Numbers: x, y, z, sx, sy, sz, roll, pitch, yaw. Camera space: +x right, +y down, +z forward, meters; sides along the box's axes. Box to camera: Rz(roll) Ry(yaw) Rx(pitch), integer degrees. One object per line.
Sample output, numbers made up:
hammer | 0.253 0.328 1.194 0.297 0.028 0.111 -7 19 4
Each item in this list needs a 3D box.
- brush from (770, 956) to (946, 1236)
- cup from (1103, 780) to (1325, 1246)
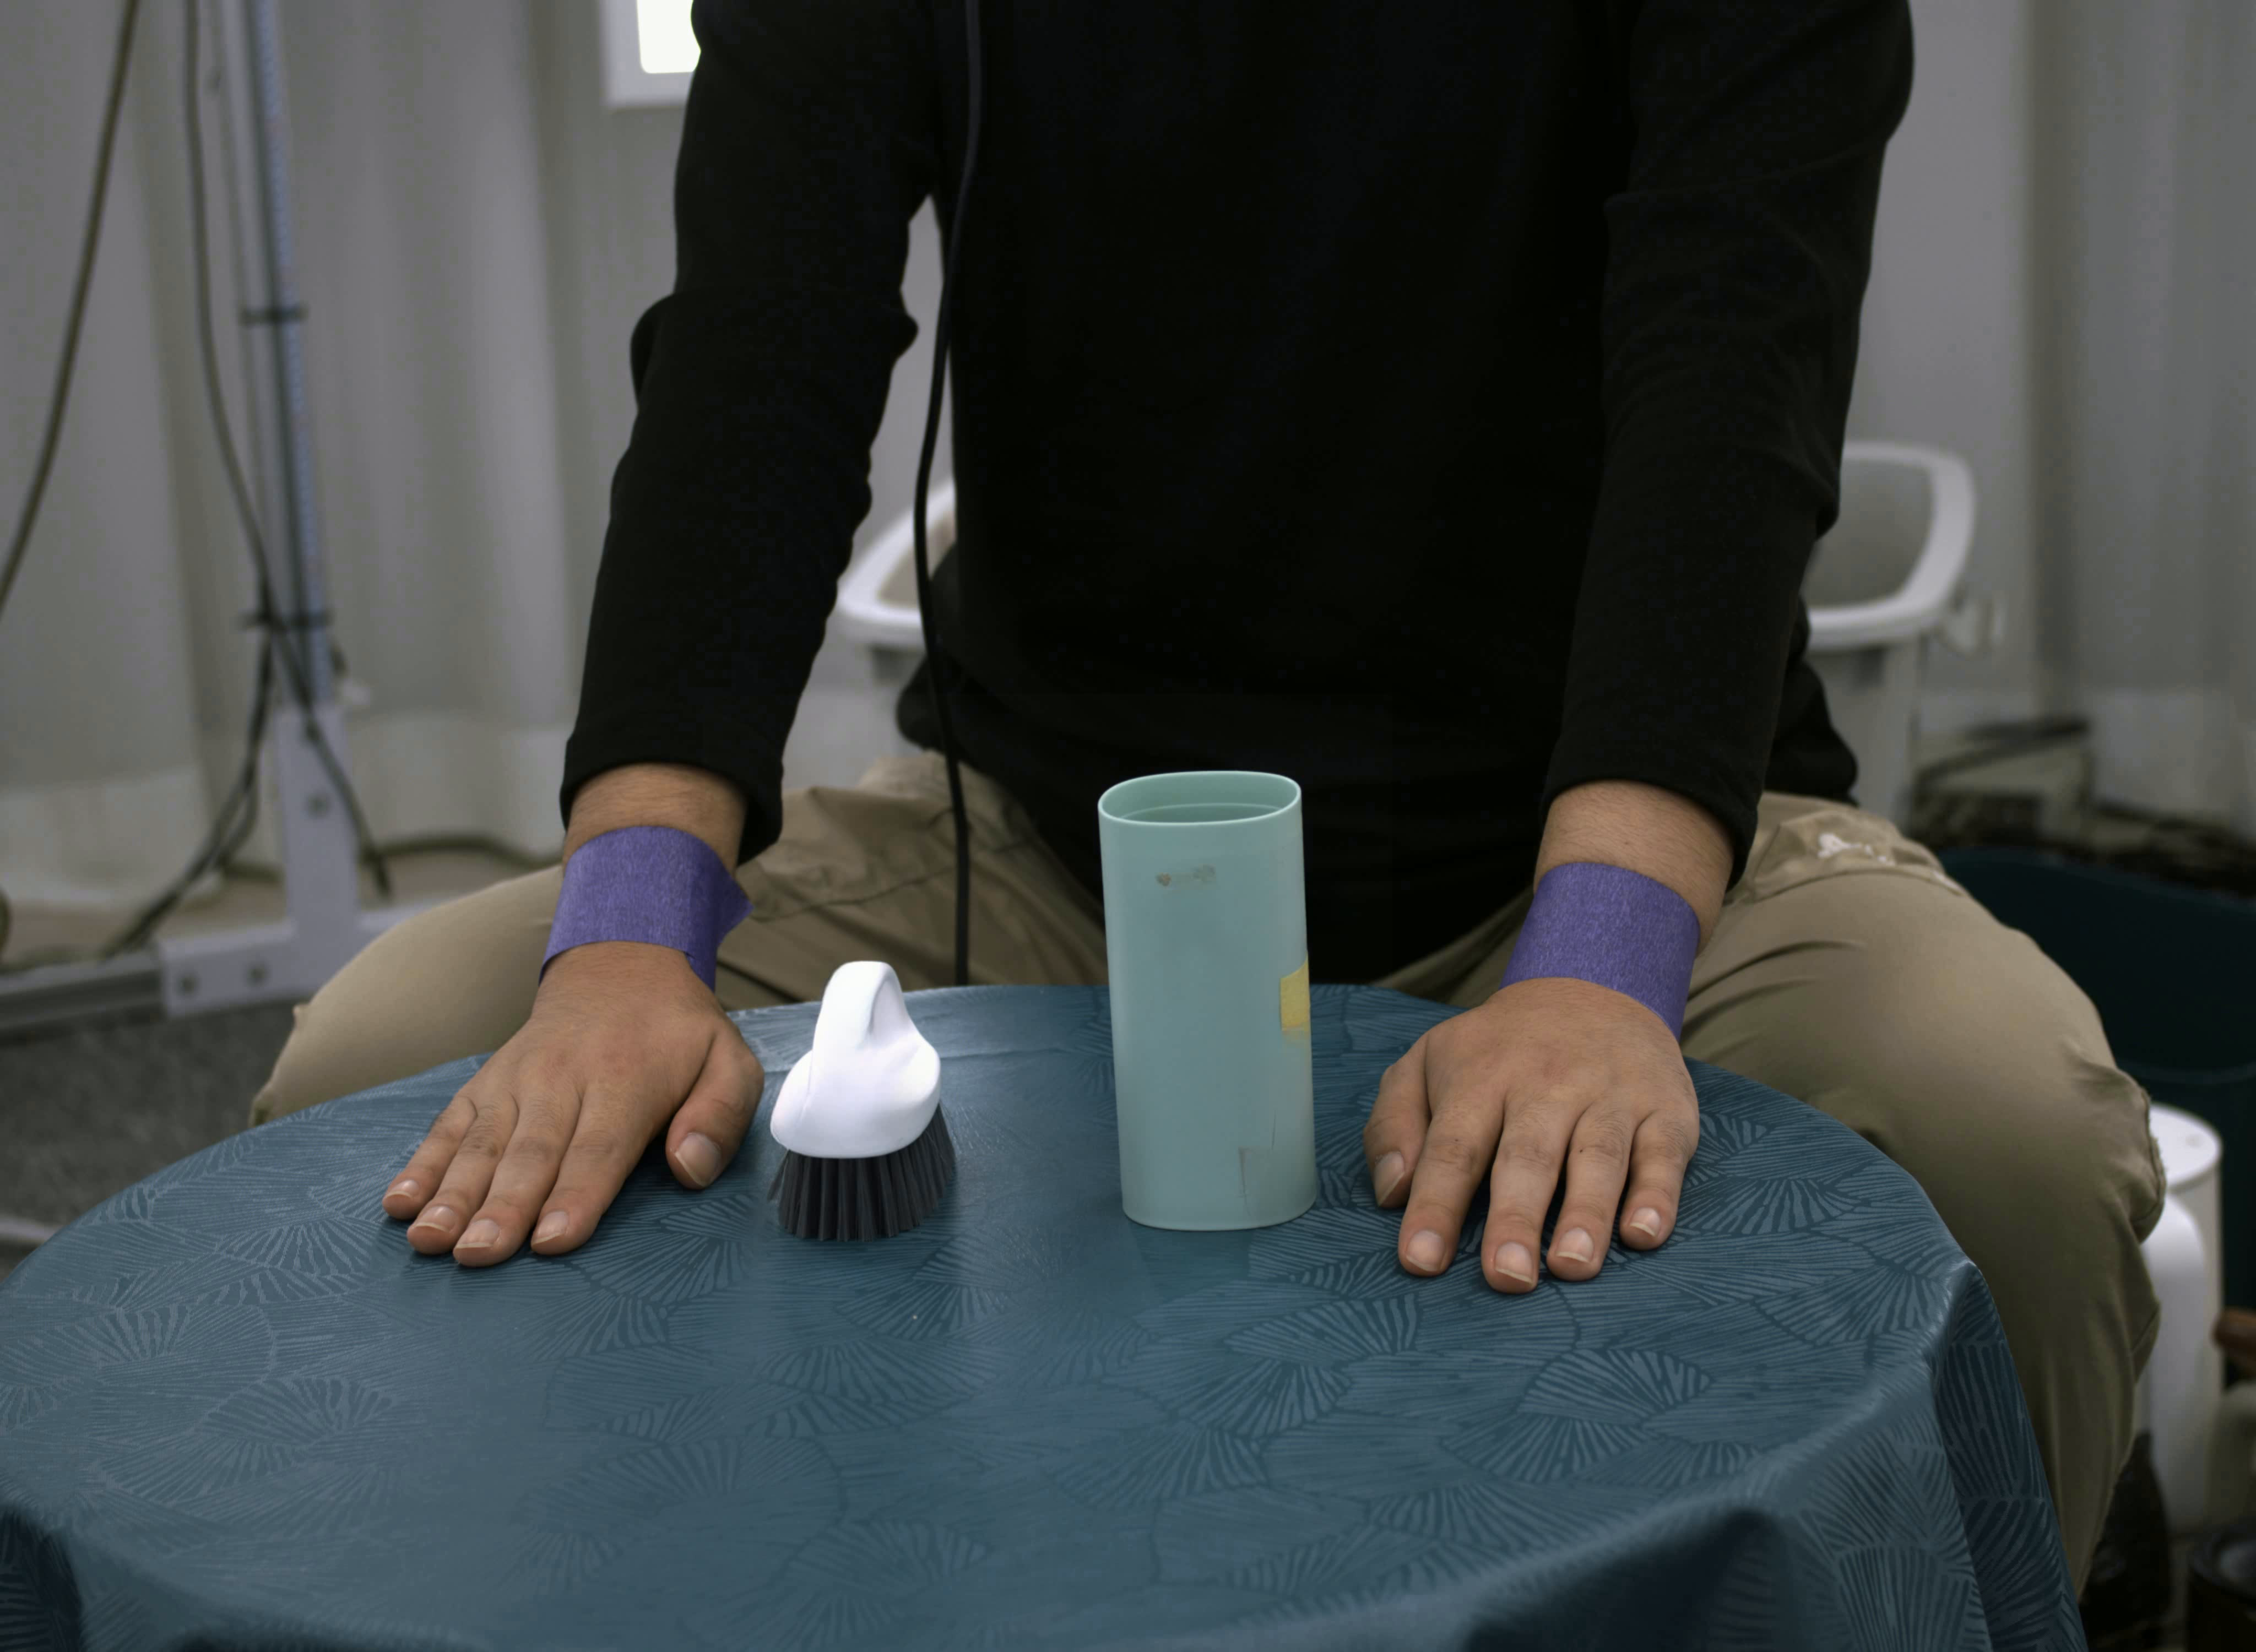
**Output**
brush | -0.086 0.080 1.720 0.050 0.072 0.100 0 16 7
cup | 0.026 0.057 1.688 0.066 0.132 0.067 -3 14 1
